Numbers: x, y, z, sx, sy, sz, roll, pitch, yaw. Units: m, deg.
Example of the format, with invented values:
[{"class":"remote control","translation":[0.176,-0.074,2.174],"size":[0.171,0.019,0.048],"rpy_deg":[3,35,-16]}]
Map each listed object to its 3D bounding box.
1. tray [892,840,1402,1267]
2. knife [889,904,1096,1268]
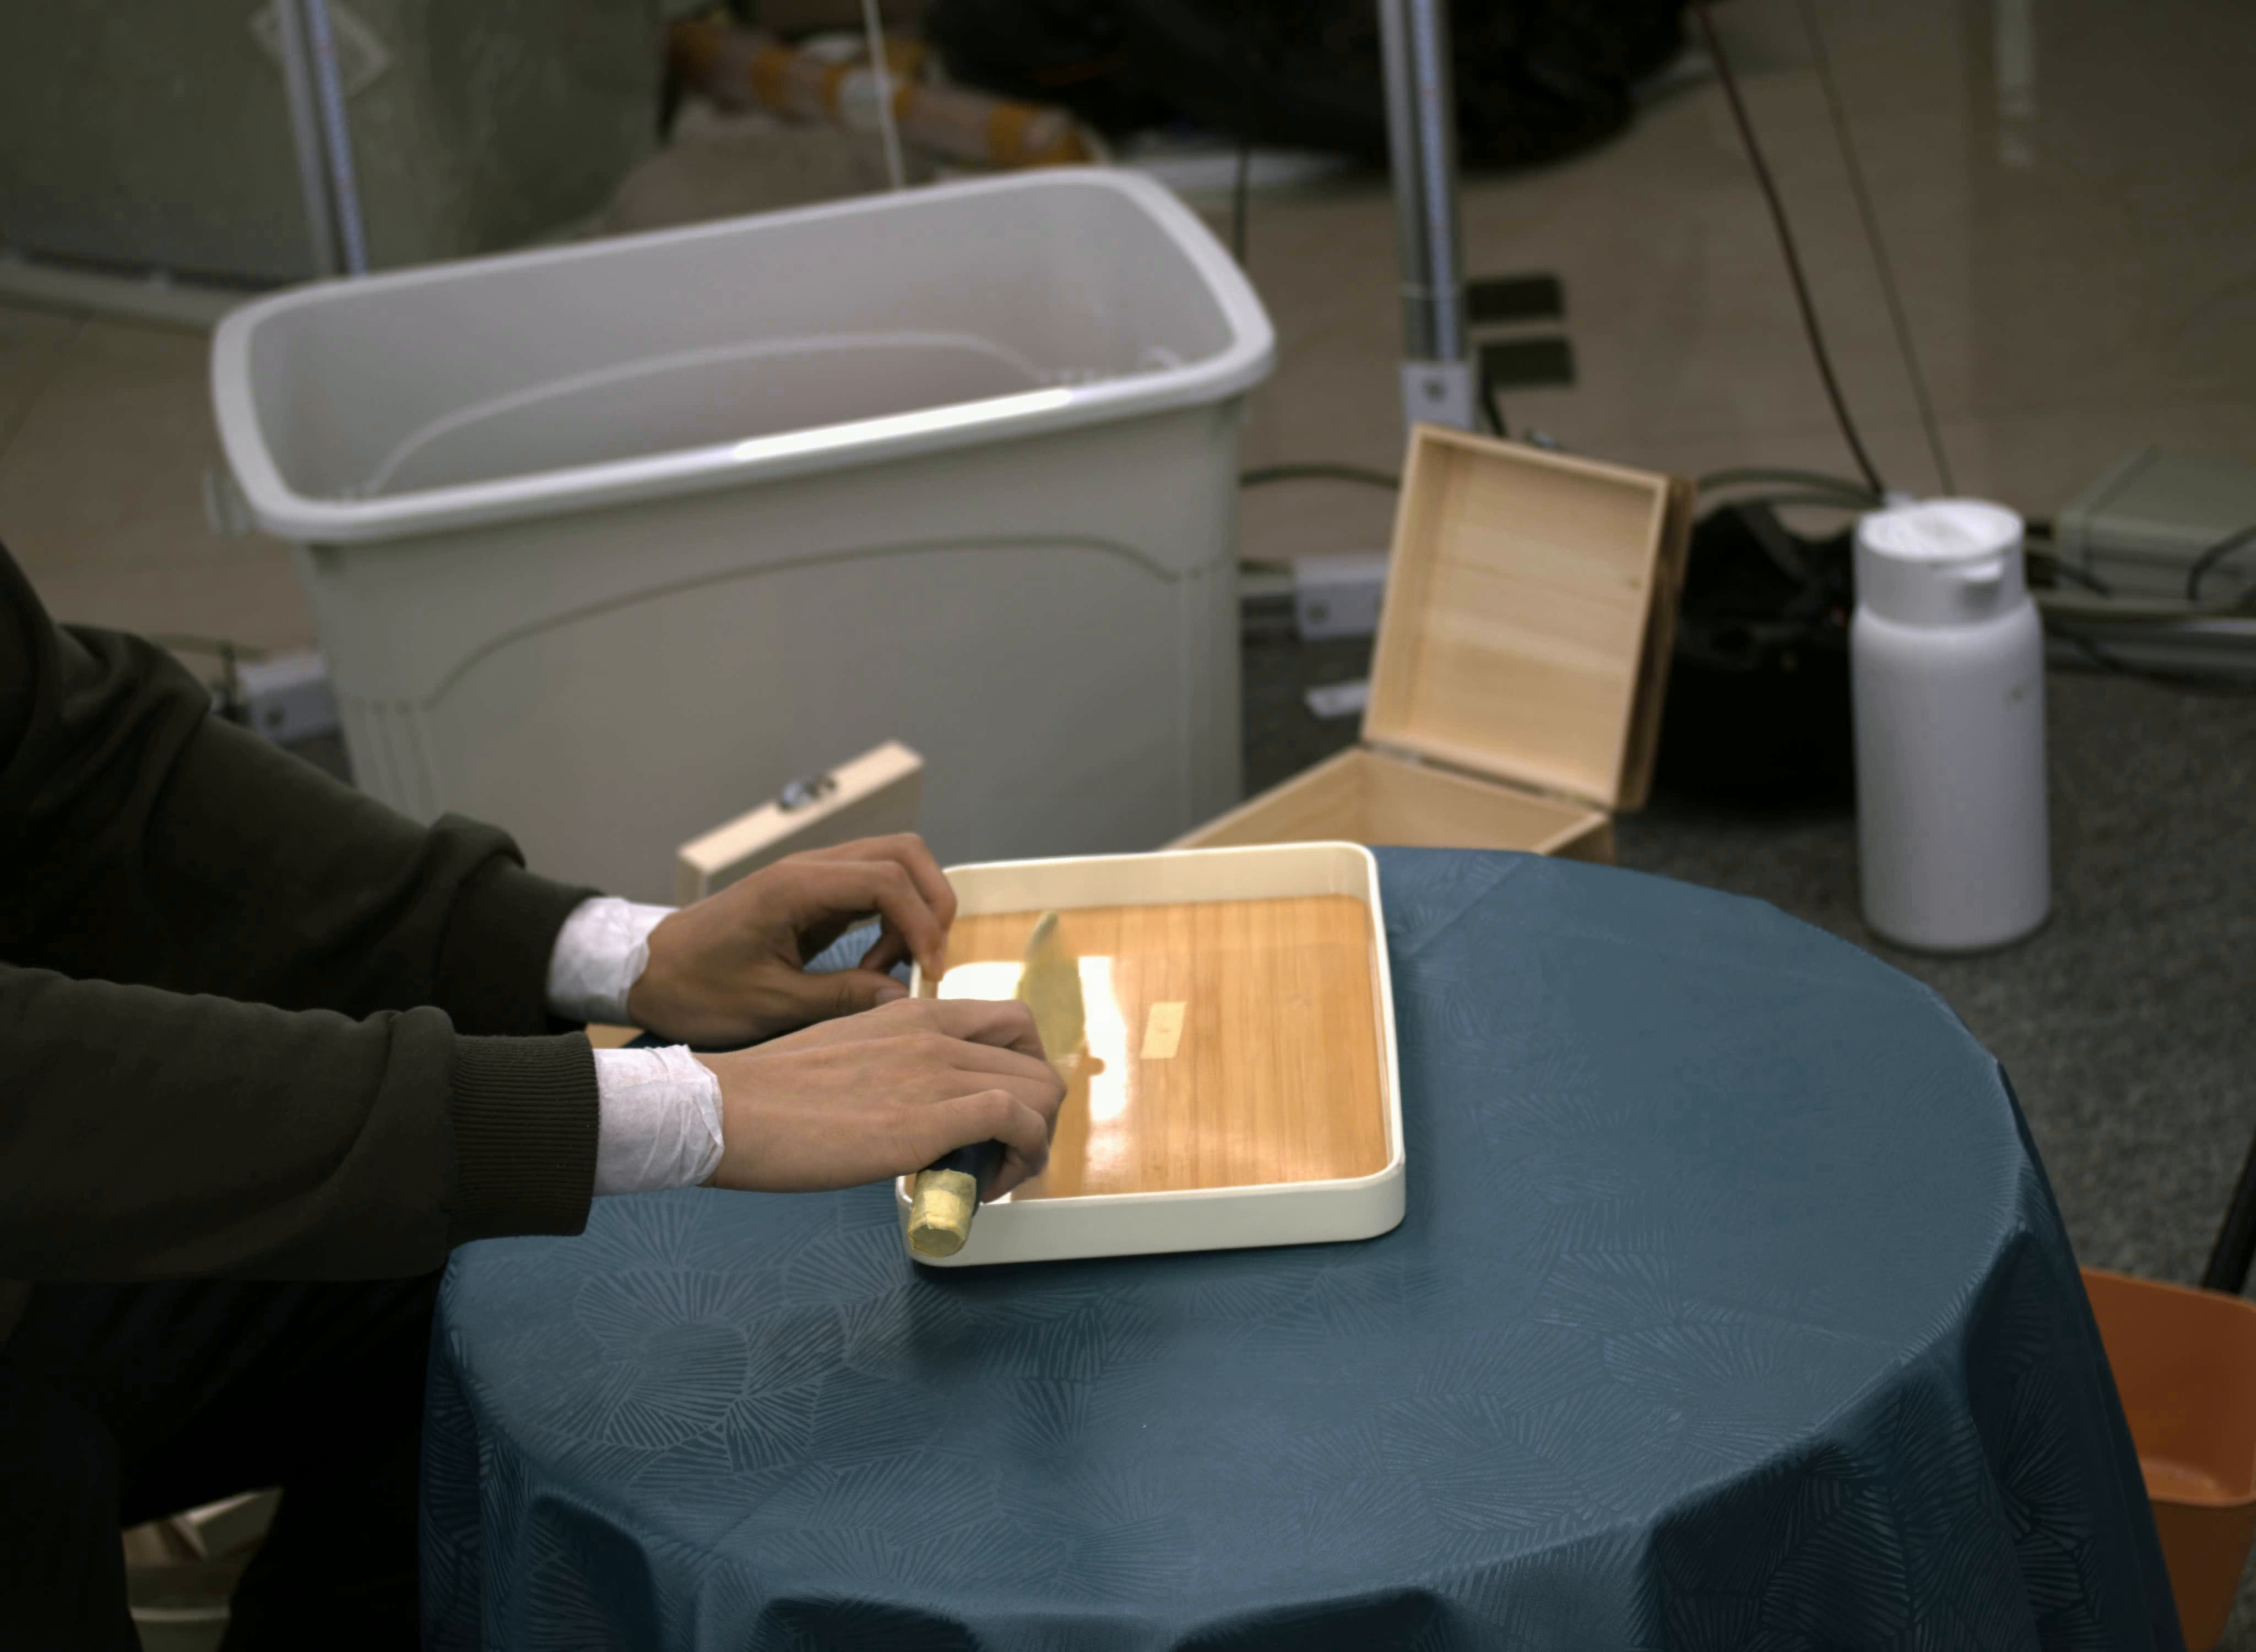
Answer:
[{"class":"tray","translation":[0.008,0.085,2.226],"size":[0.191,0.028,0.296],"rpy_deg":[-4,25,2]},{"class":"knife","translation":[-0.043,0.104,2.115],"size":[0.027,0.082,0.286],"rpy_deg":[-5,20,15]}]
